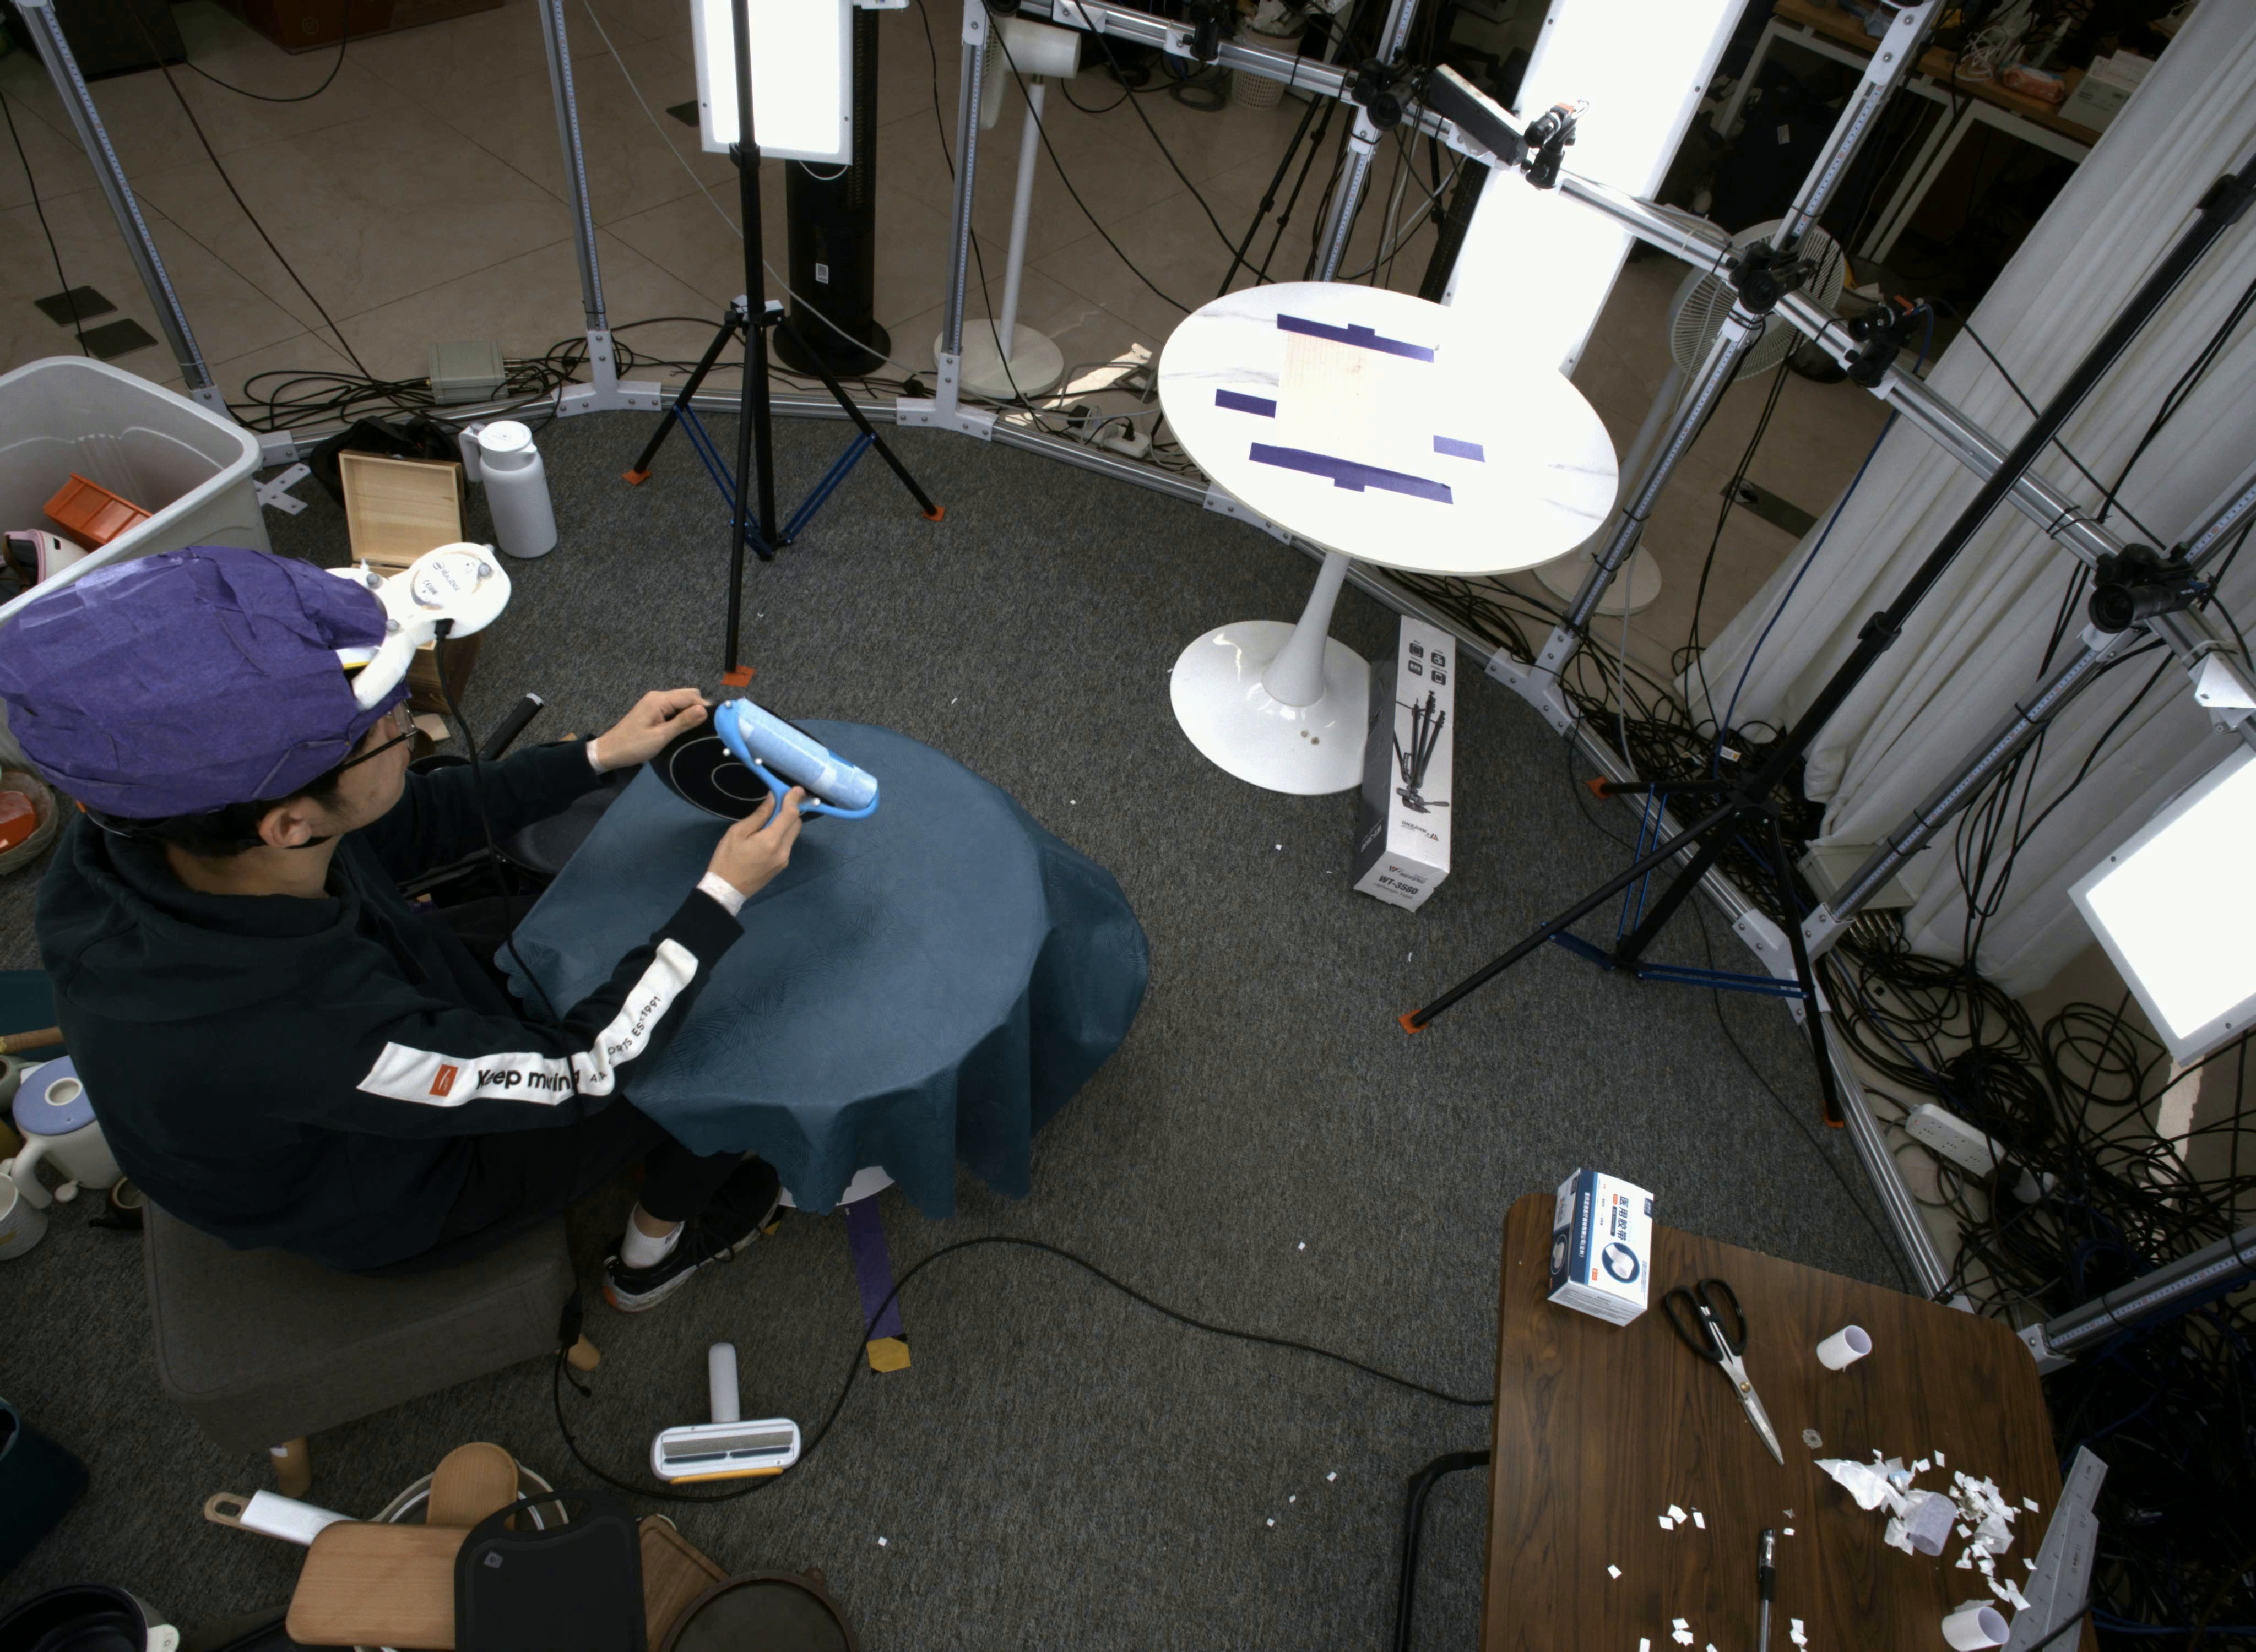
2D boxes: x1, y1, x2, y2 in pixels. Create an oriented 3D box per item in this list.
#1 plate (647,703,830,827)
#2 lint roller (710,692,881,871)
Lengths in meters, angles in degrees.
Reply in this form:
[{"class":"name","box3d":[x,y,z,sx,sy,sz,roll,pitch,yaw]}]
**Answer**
[{"class":"plate","box3d":[-0.480,-0.066,1.608,0.244,0.249,0.023,6,55,-8]},{"class":"lint roller","box3d":[-0.408,-0.031,1.515,0.236,0.065,0.180,30,74,-38]}]
